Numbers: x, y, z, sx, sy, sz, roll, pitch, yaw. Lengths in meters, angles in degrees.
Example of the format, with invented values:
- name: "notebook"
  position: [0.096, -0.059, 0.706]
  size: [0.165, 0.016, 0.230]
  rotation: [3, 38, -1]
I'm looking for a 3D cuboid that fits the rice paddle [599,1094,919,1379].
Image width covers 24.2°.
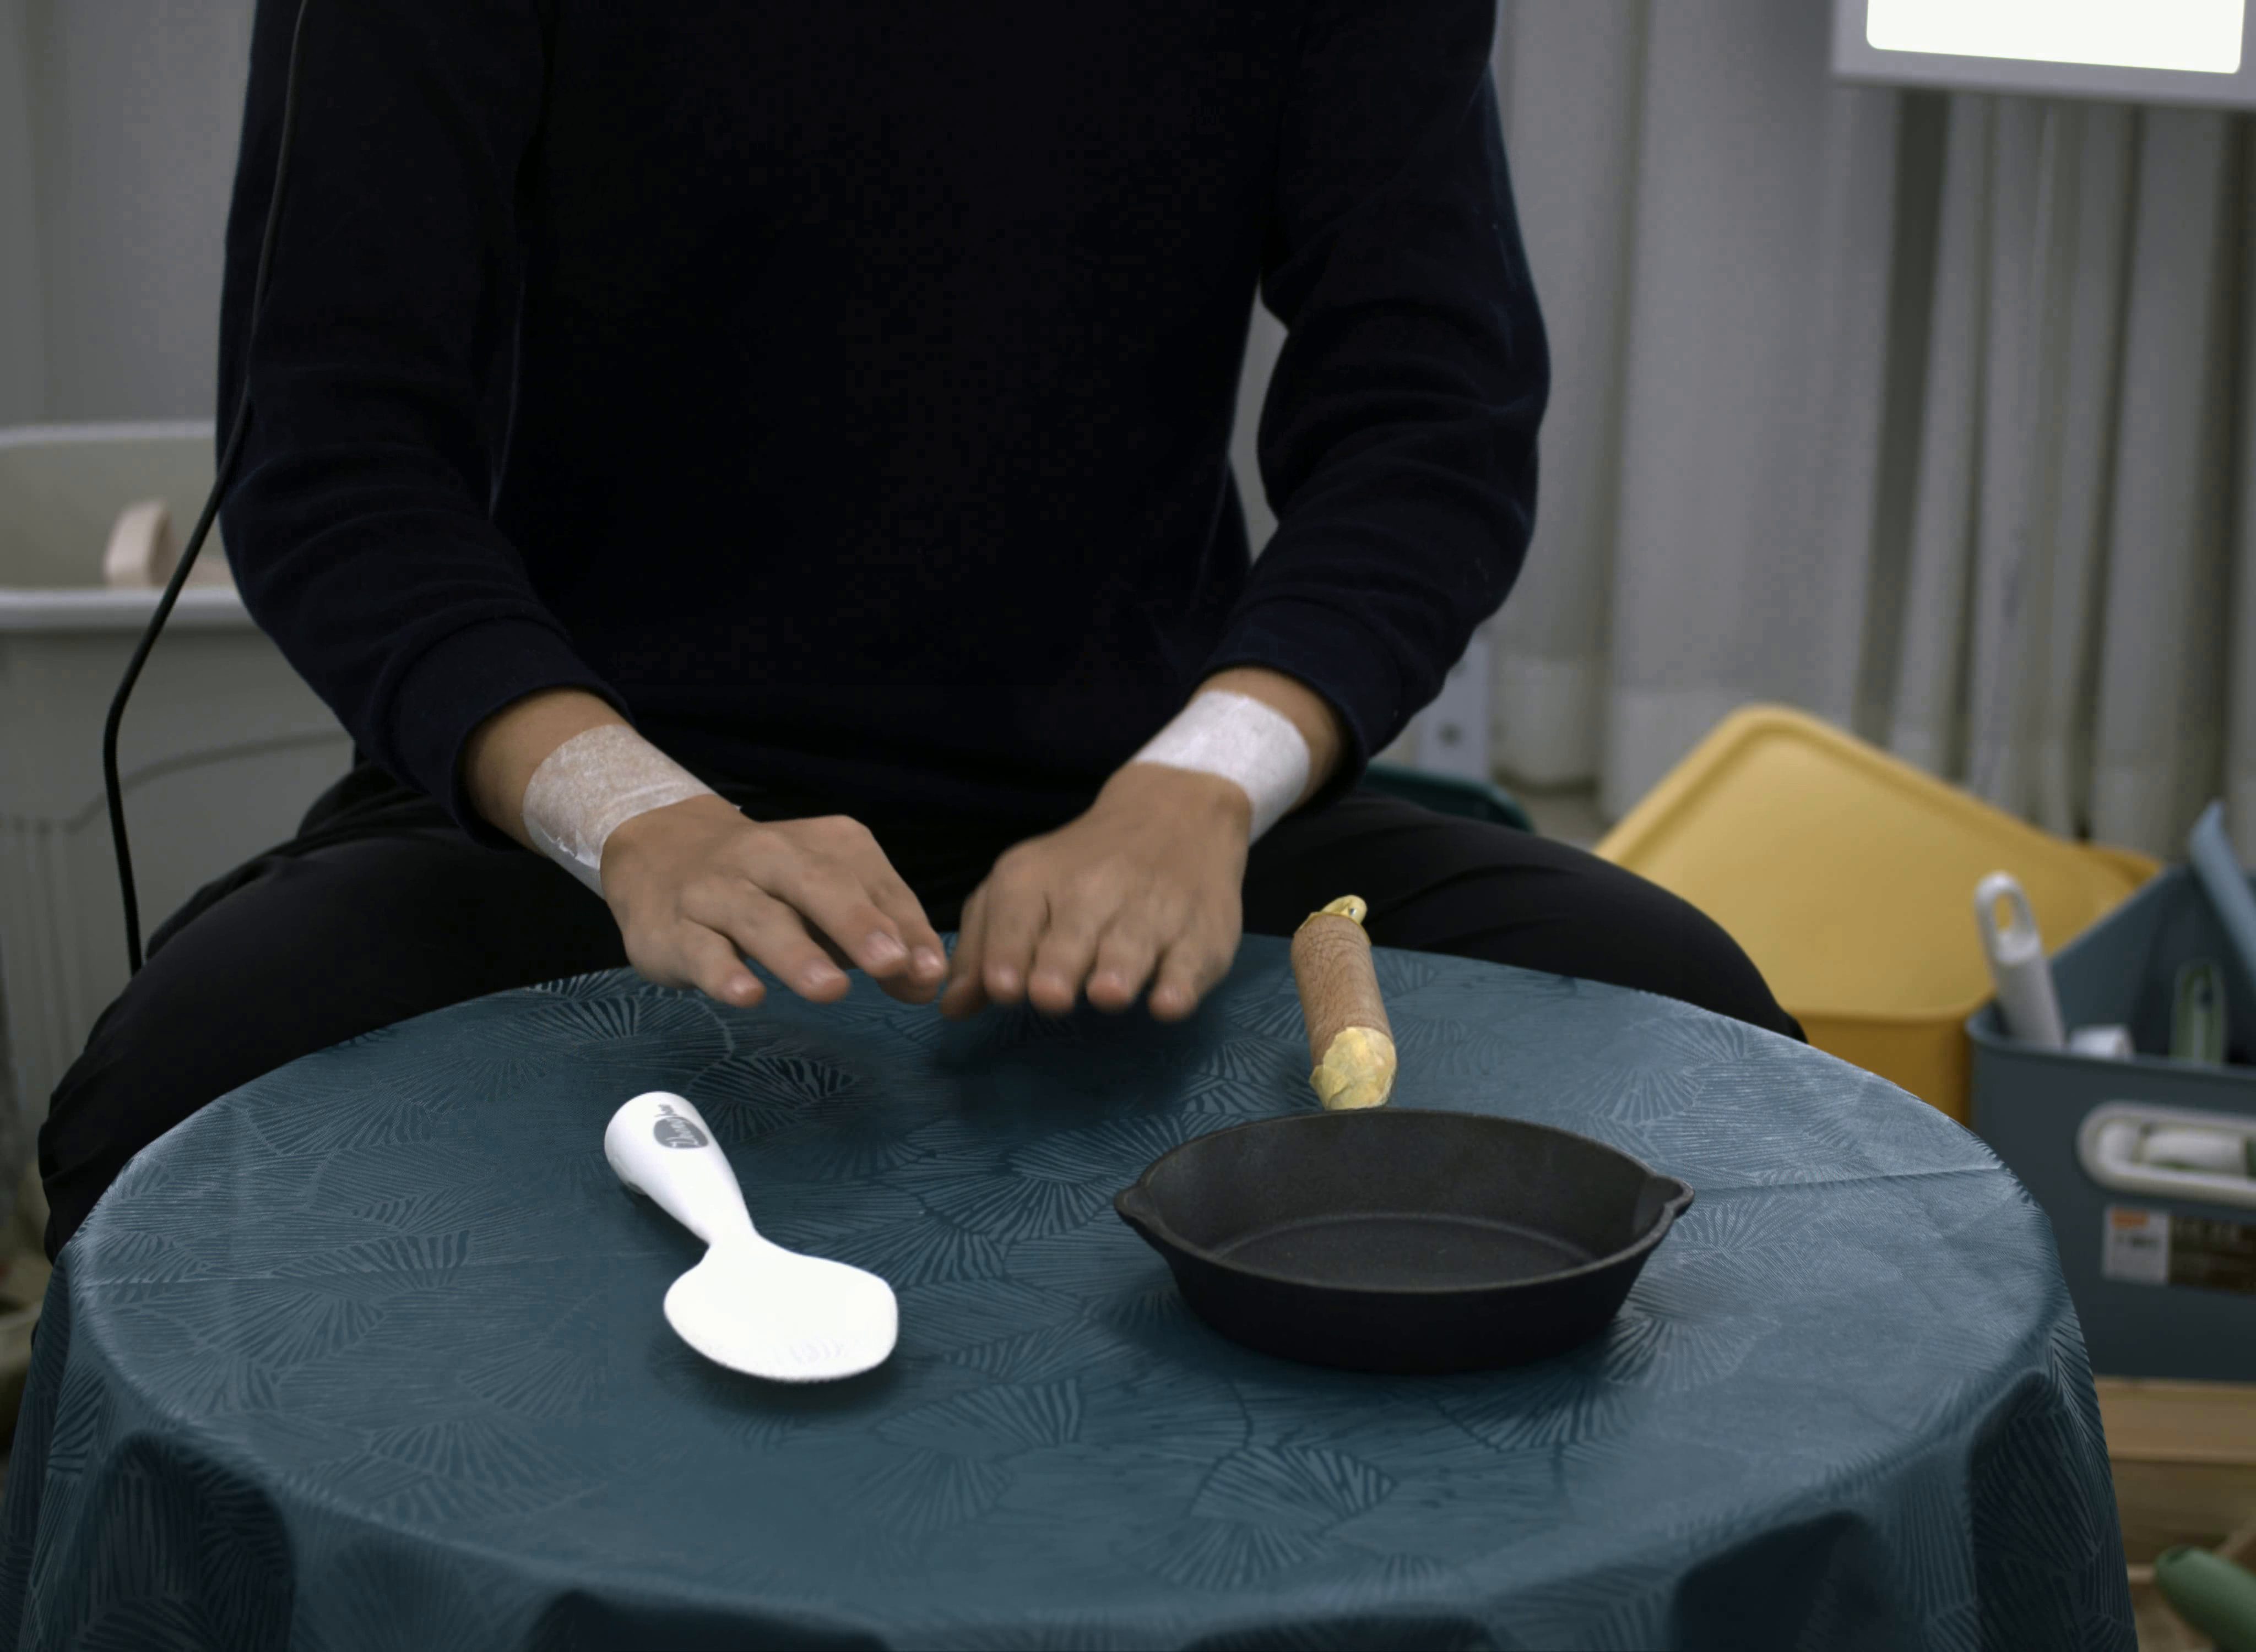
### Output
- name: "rice paddle"
  position: [-0.114, 0.121, 1.532]
  size: [0.069, 0.029, 0.203]
  rotation: [-8, 17, -18]

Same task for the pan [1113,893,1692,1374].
- name: "pan"
  position: [0.077, 0.090, 1.609]
  size: [0.168, 0.050, 0.322]
  rotation: [0, 17, -2]
